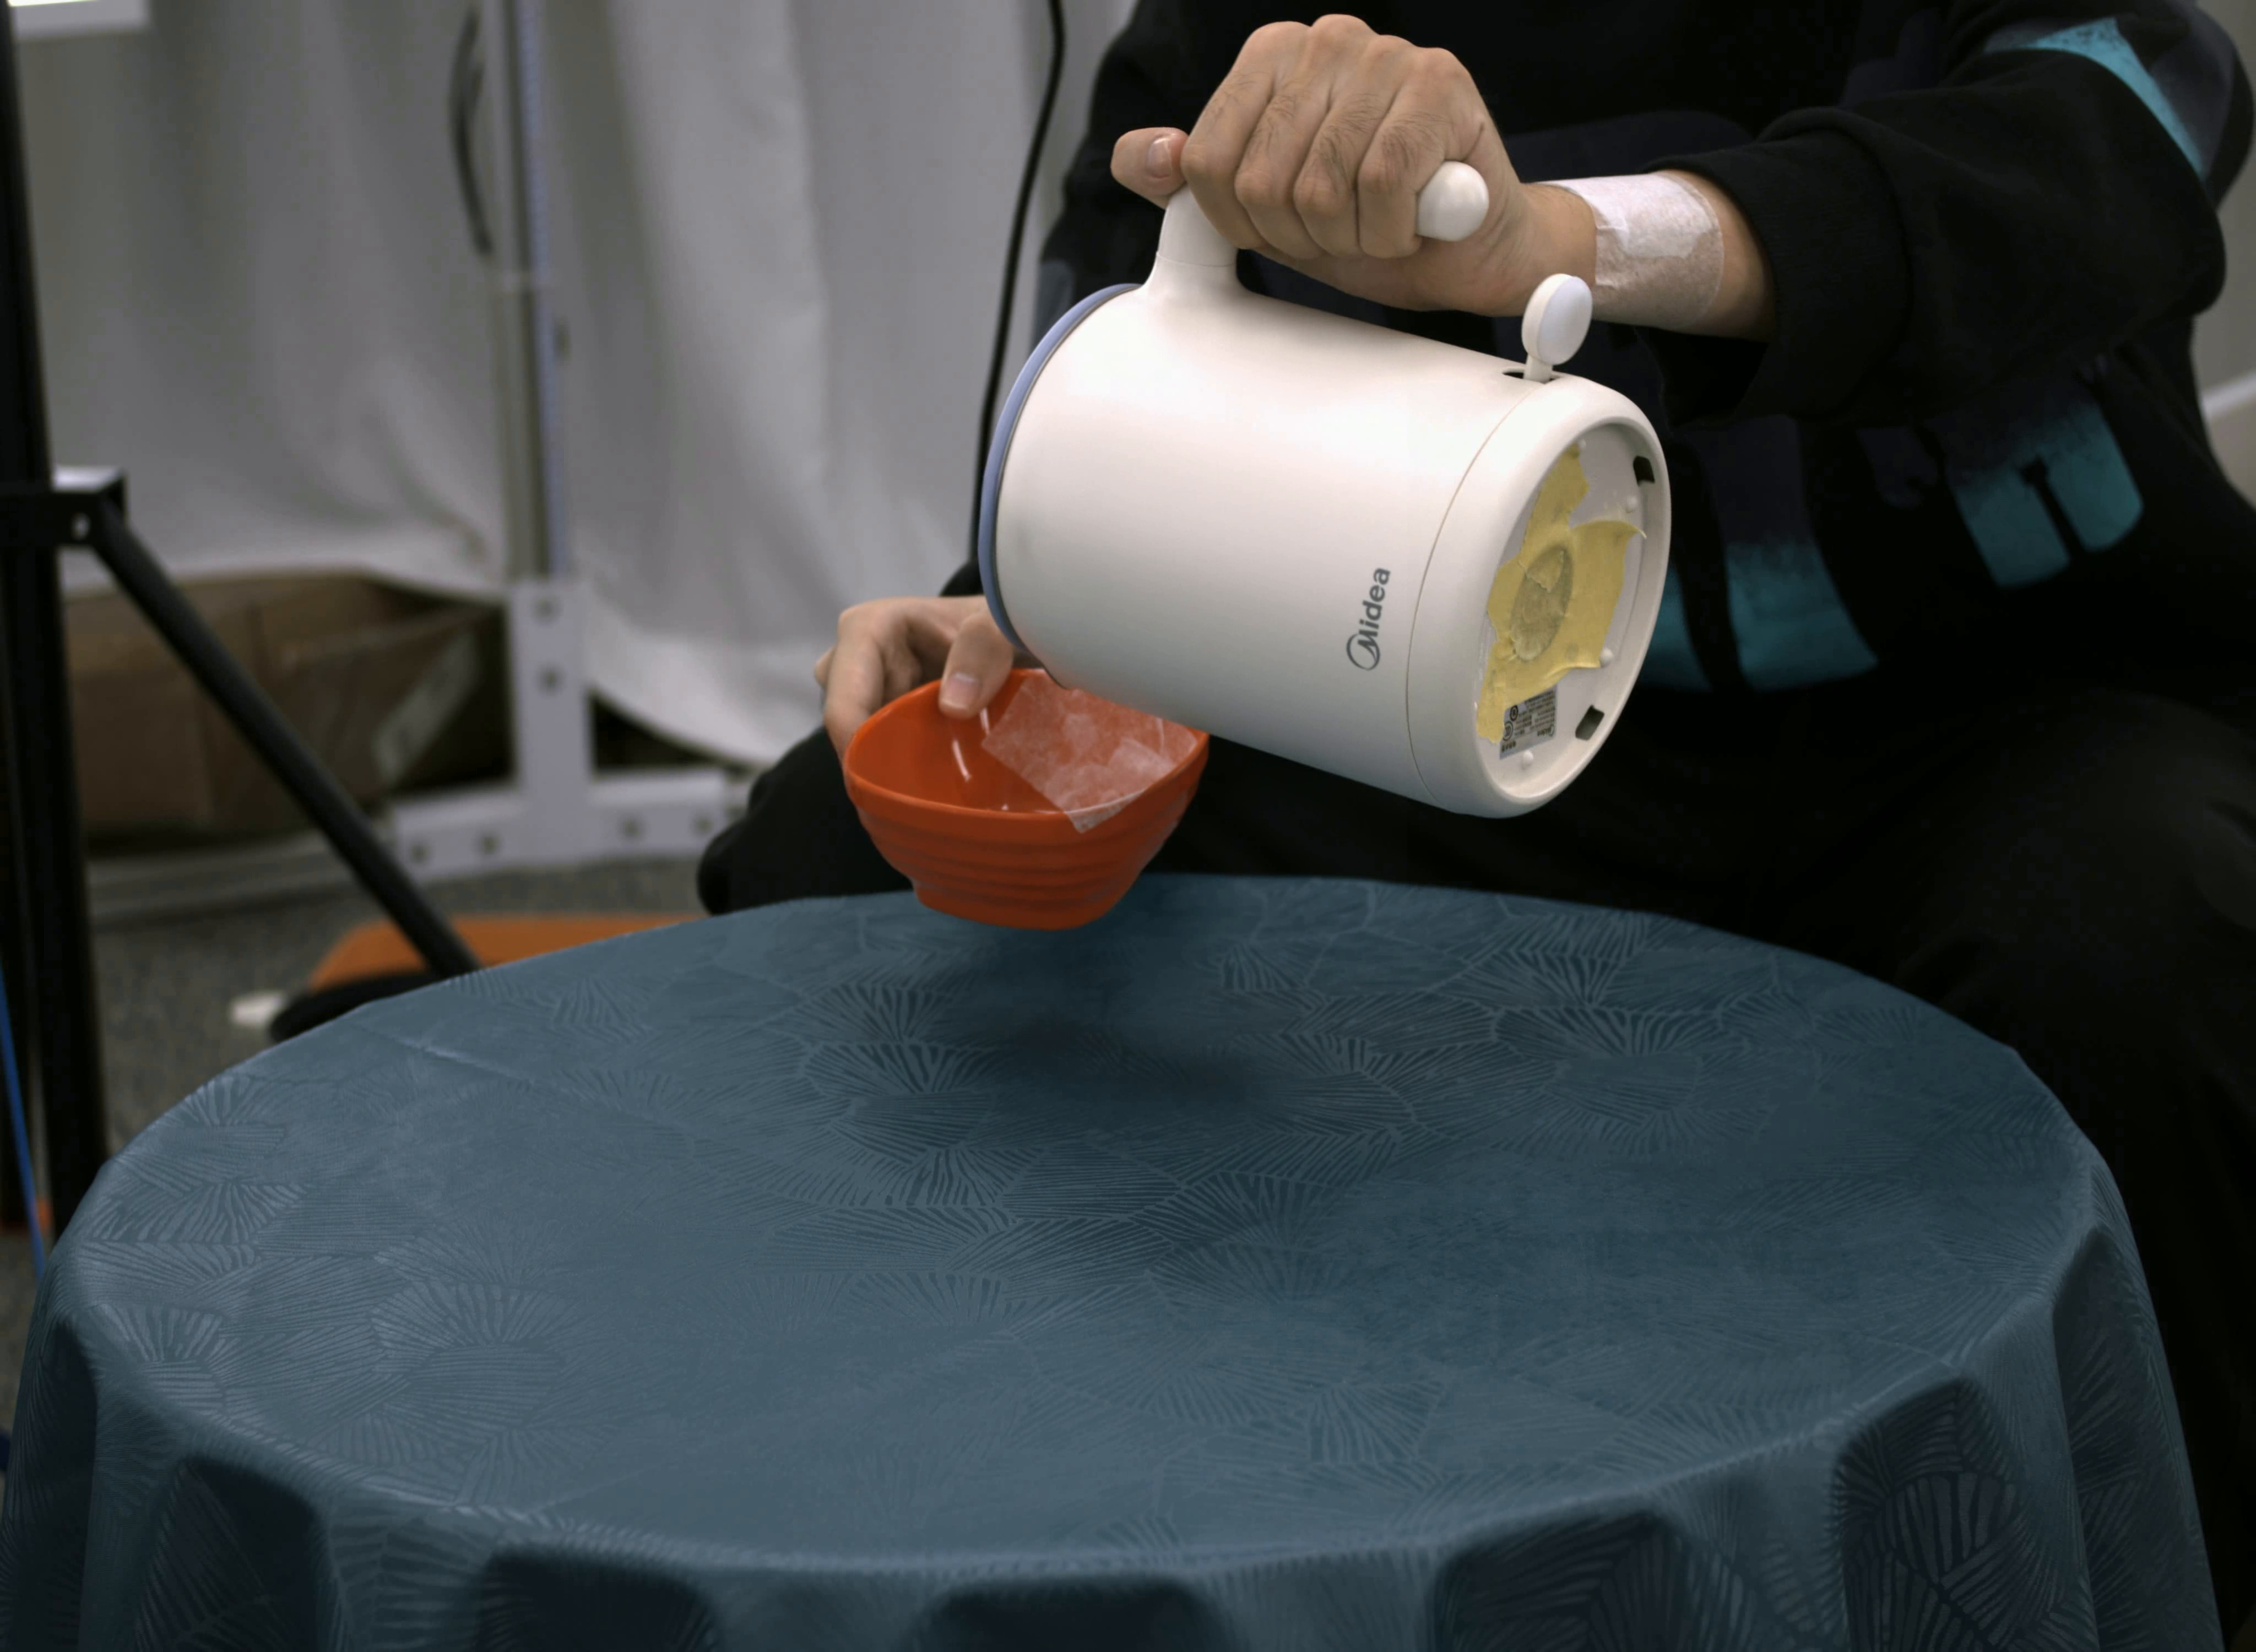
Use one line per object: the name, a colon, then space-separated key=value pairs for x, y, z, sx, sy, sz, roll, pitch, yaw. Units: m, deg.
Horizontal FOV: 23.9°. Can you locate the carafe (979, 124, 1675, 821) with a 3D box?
carafe: x=0.063 y=-0.108 z=1.566 sx=0.186 sy=0.191 sz=0.129 roll=20 pitch=19 yaw=28

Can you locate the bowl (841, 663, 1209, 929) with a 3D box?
bowl: x=-0.030 y=-0.006 z=1.684 sx=0.118 sy=0.051 sz=0.120 roll=-5 pitch=25 yaw=1
